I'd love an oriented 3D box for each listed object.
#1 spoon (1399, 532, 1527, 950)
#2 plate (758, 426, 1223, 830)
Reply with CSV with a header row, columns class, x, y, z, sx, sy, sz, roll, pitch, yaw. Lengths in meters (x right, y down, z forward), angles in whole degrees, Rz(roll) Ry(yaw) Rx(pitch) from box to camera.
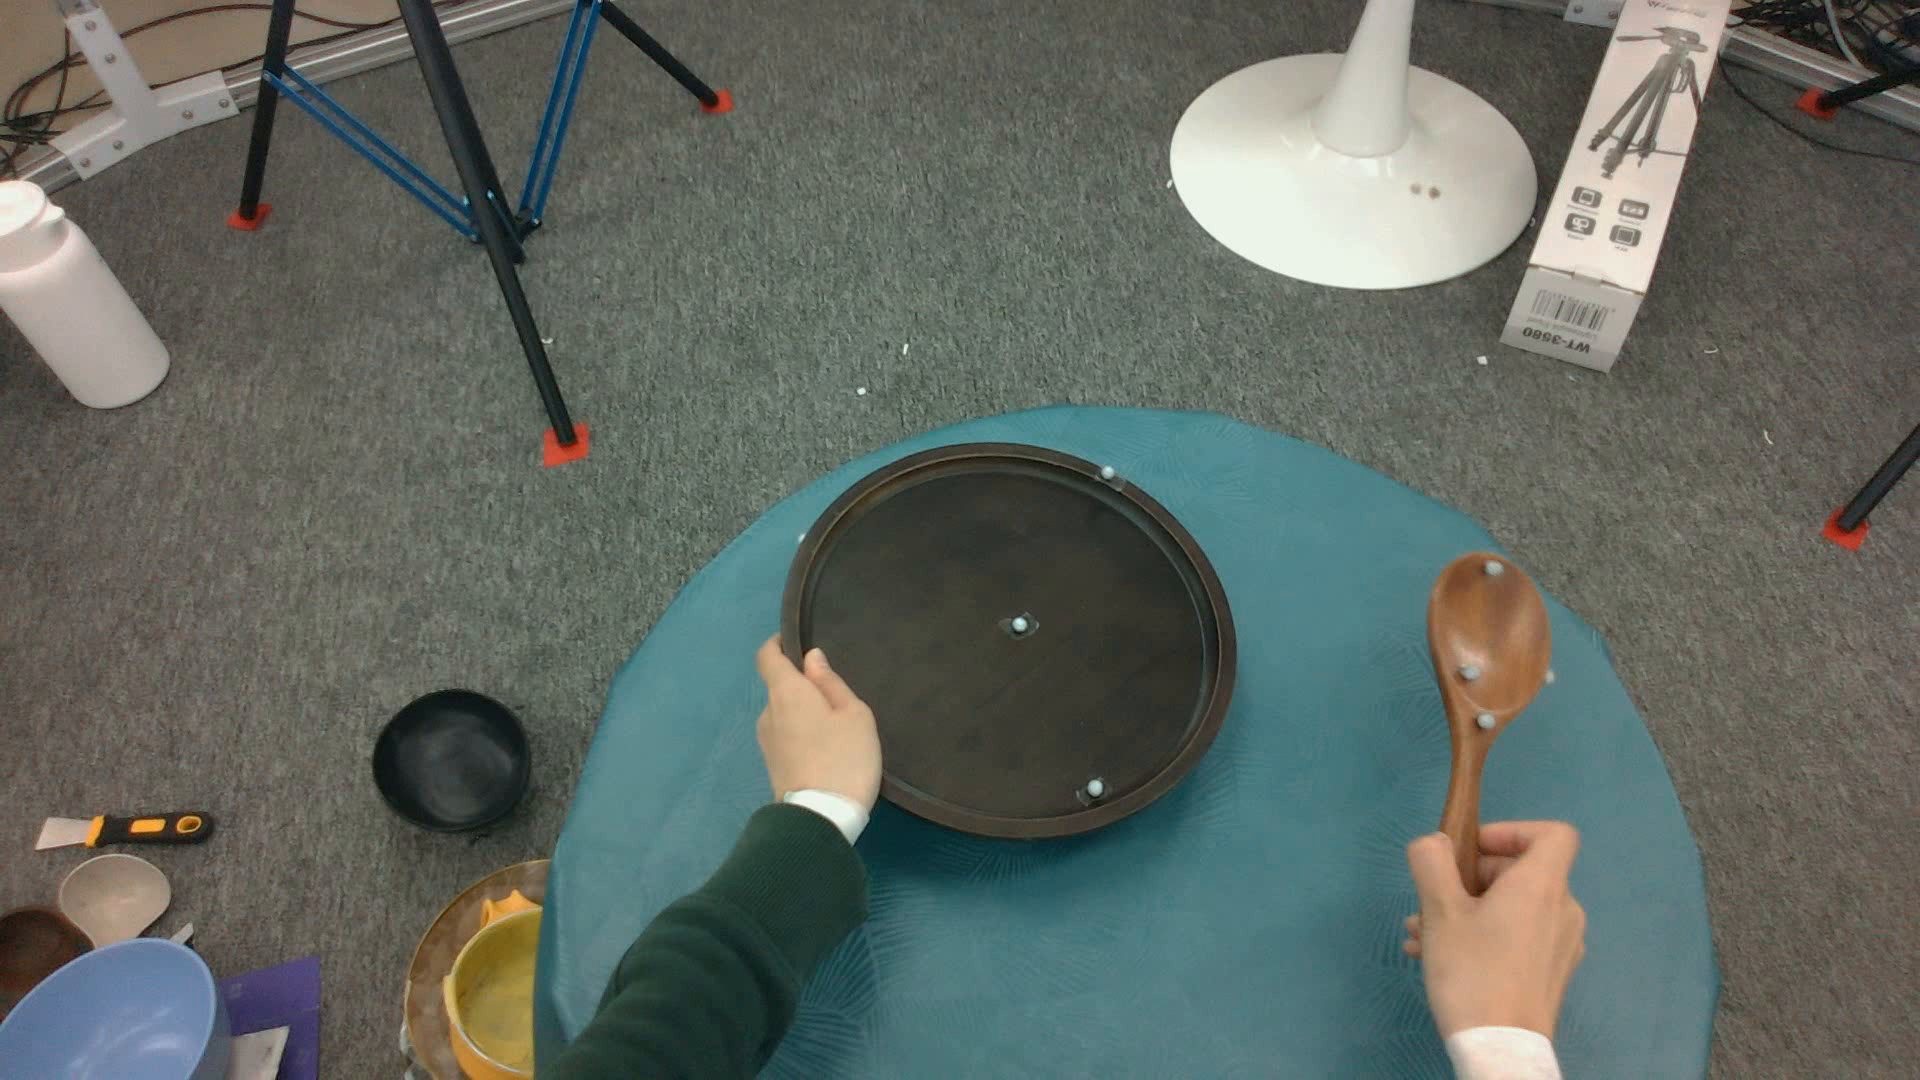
class,x,y,z,sx,sy,sz,roll,pitch,yaw
spoon,0.242,0.093,0.676,0.075,0.017,0.217,20,62,-10
plate,0.017,0.042,0.755,0.255,0.029,0.256,3,54,-4
